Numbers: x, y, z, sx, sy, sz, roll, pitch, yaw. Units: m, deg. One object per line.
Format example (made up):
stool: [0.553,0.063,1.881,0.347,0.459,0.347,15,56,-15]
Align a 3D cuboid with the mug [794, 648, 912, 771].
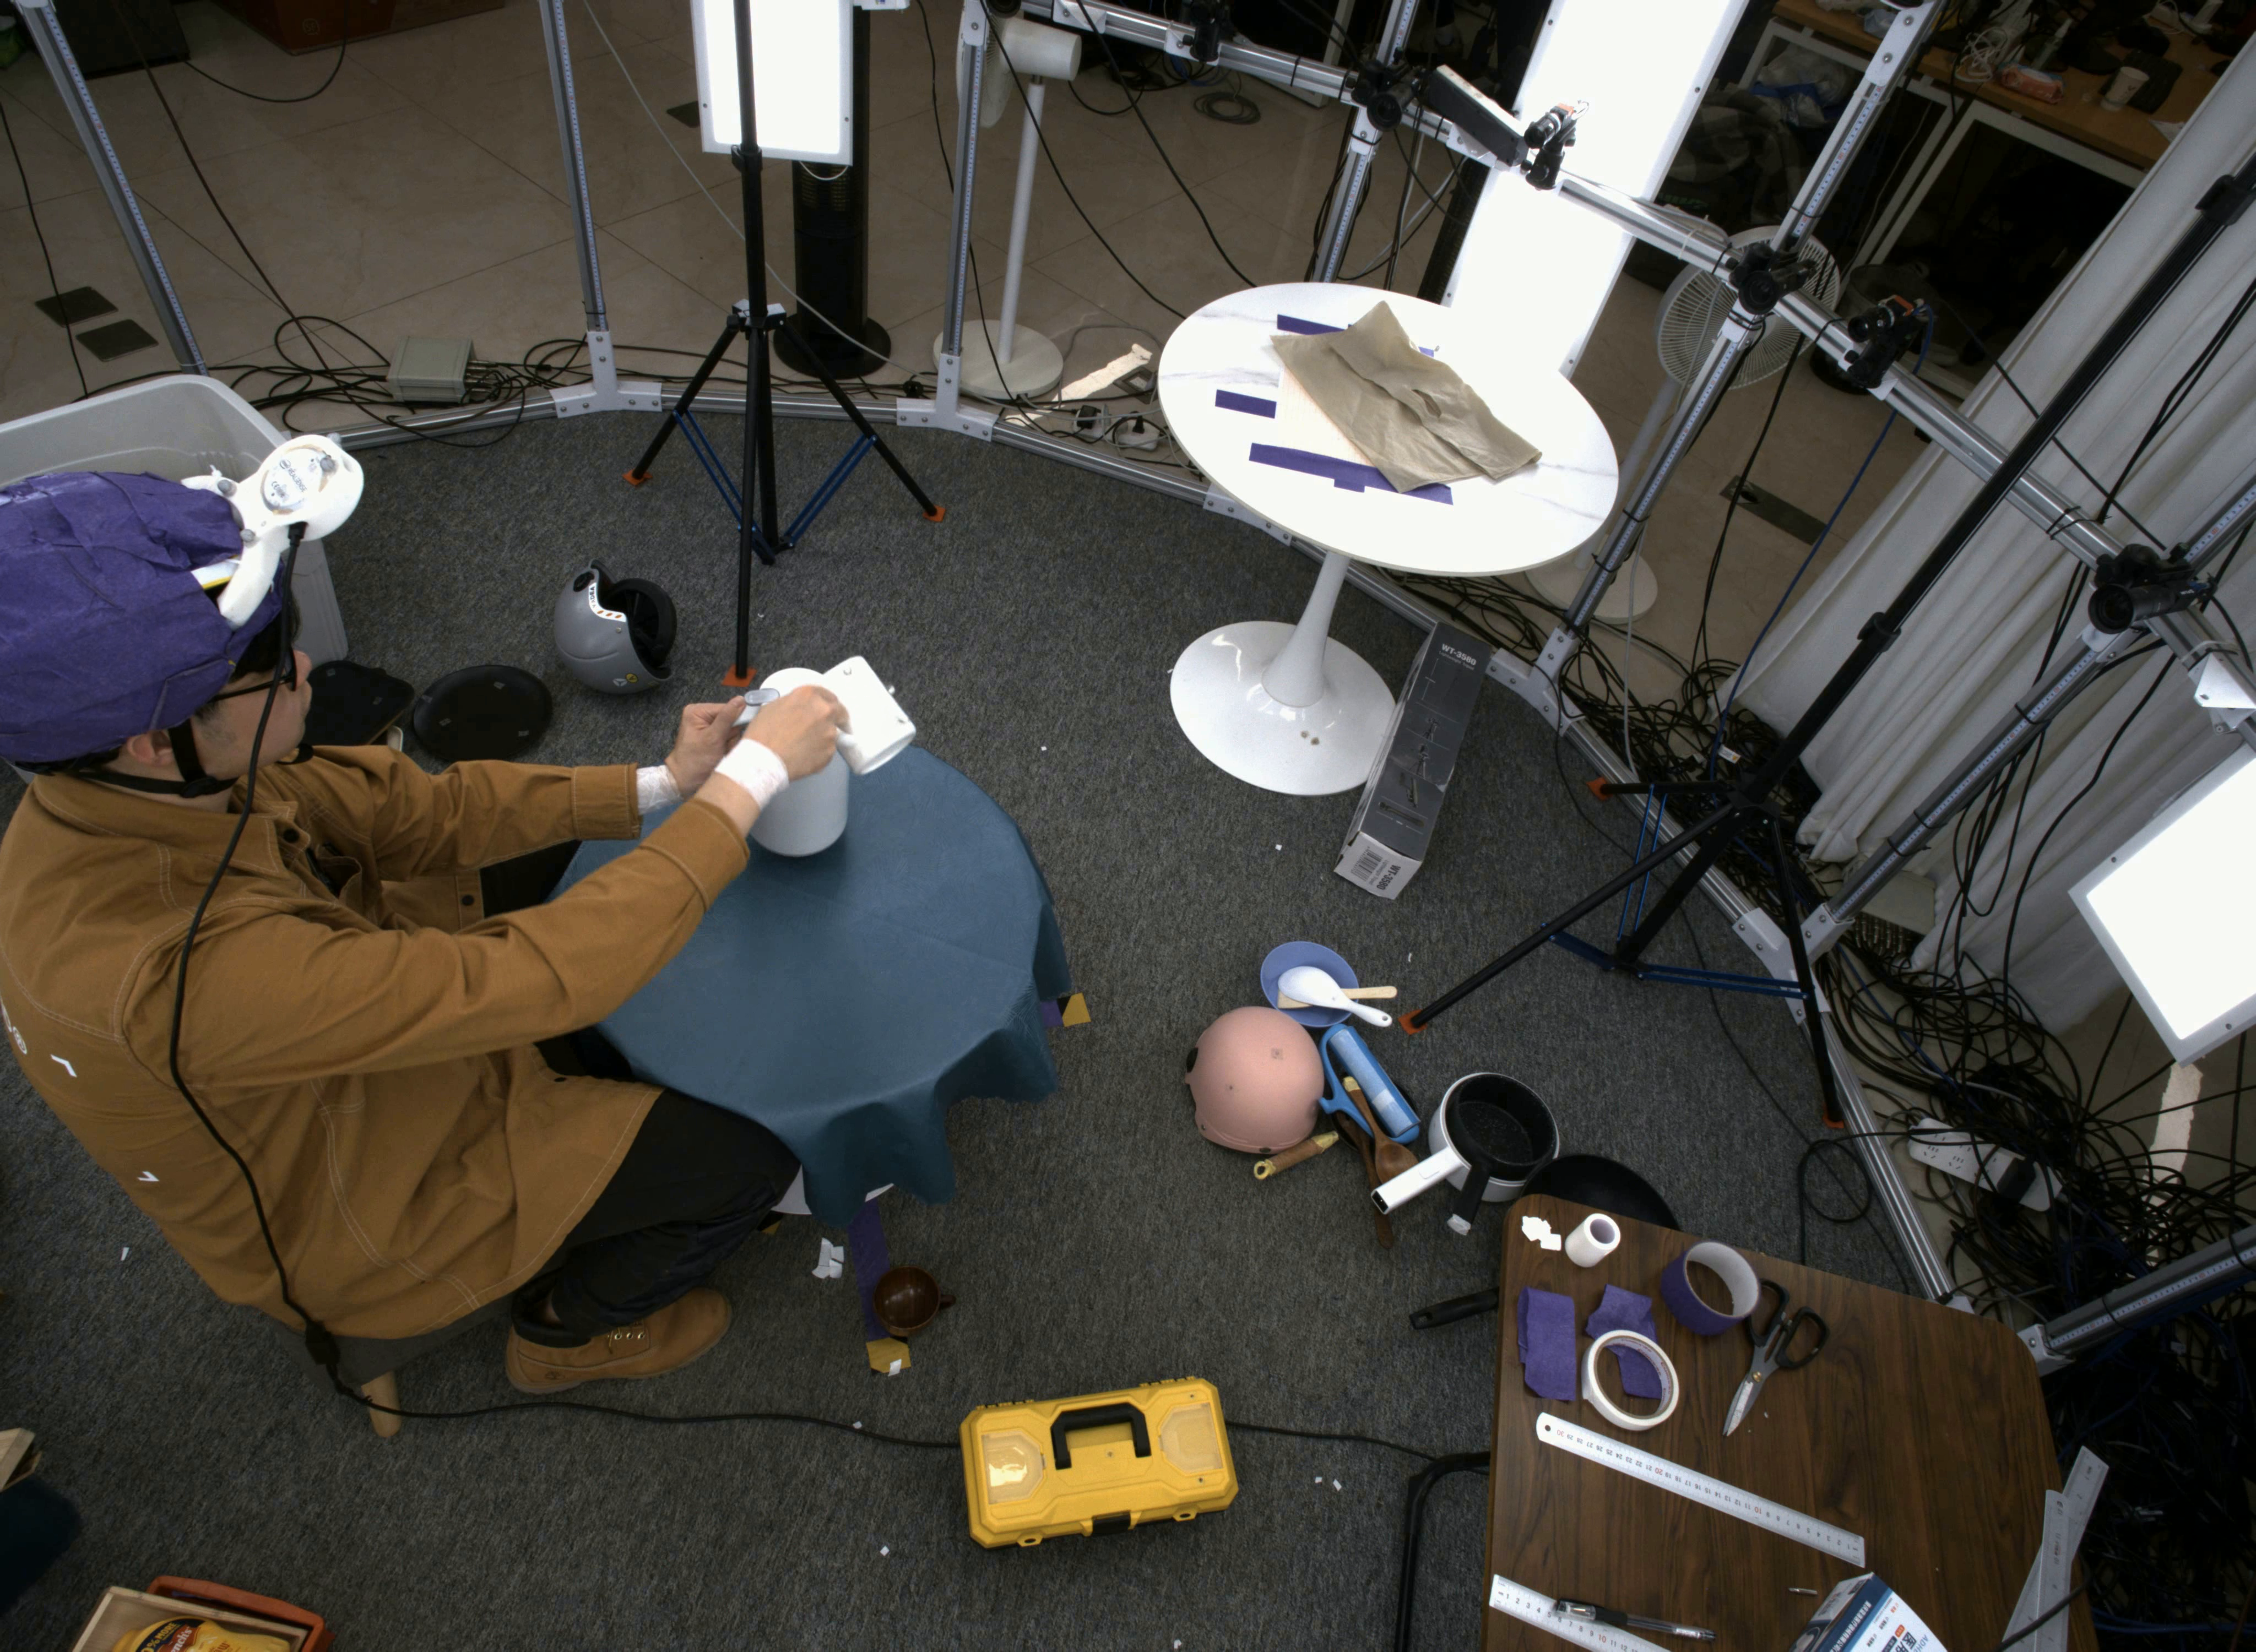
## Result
mug: [-0.298,-0.120,1.377,0.102,0.084,0.118,53,19,-1]

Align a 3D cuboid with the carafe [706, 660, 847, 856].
carafe: [-0.427,-0.086,1.580,0.168,0.253,0.130,-3,57,-16]
